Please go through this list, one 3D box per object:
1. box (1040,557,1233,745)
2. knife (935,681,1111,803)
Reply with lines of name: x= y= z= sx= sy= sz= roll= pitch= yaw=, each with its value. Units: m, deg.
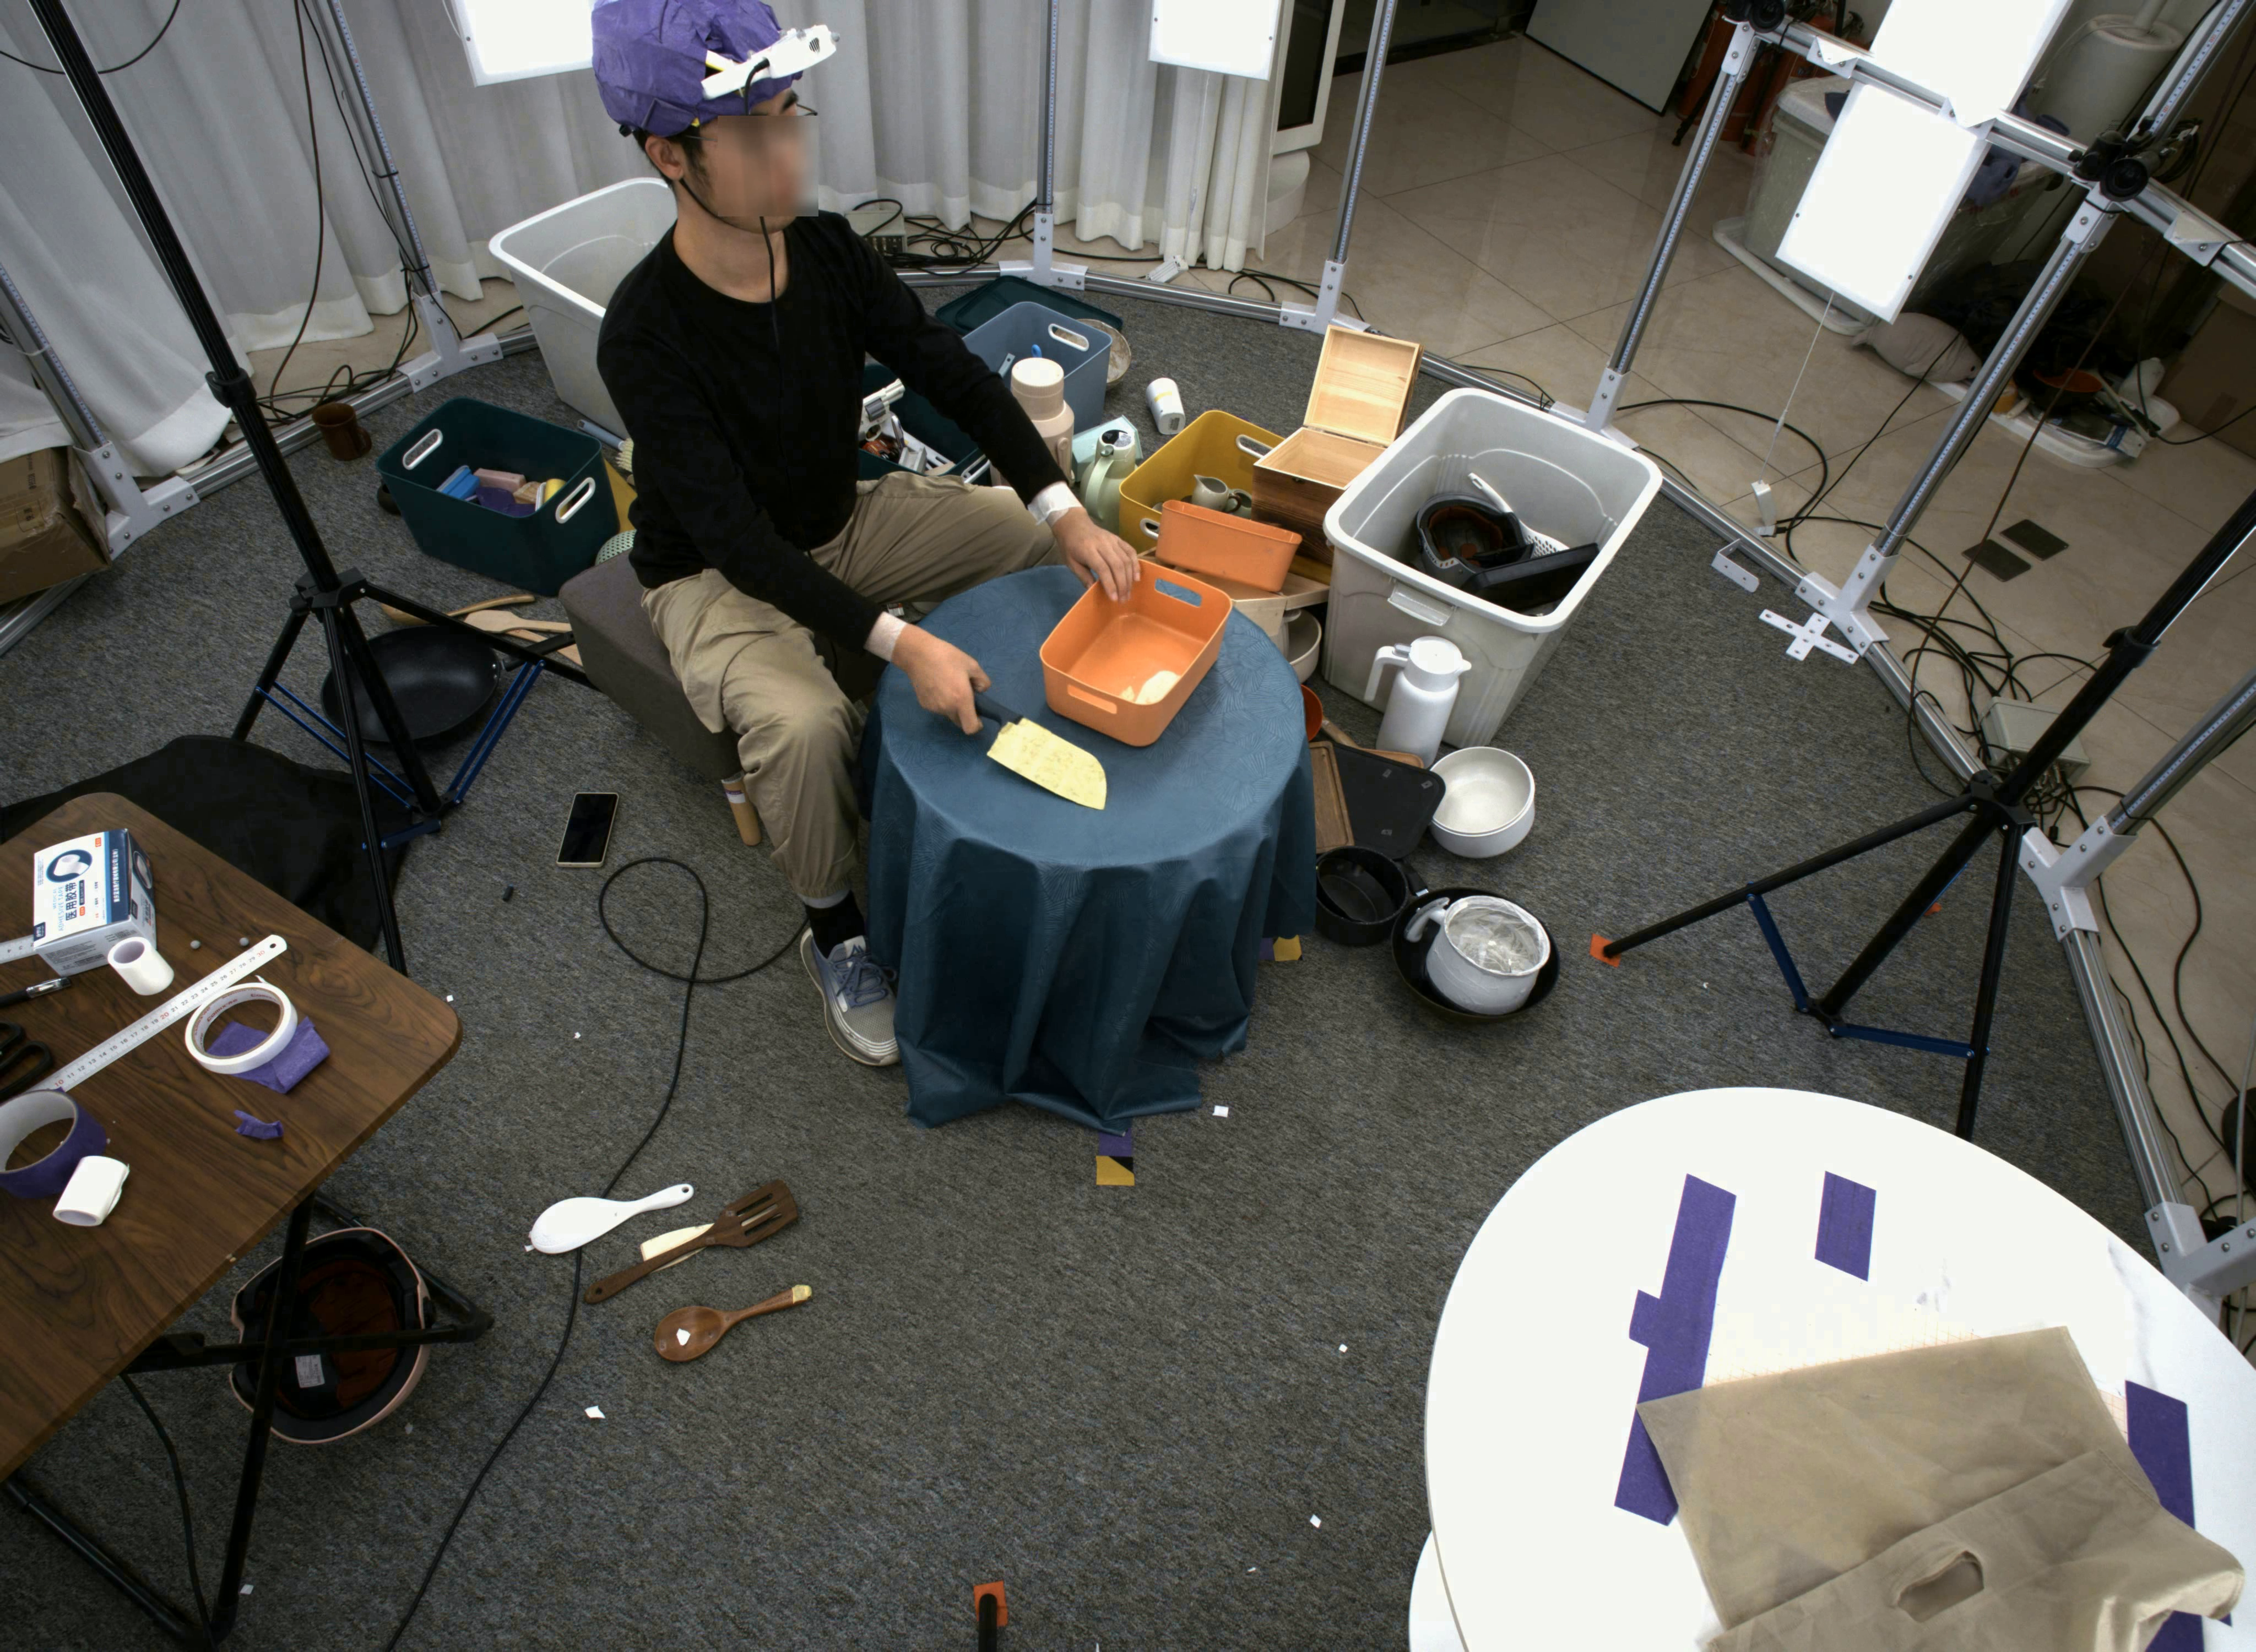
box: x=0.010 y=-0.246 z=1.817 sx=0.201 sy=0.100 sz=0.278 roll=24 pitch=52 yaw=15
knife: x=-0.146 y=-0.113 z=1.722 sx=0.291 sy=0.026 sz=0.082 roll=31 pitch=64 yaw=12
